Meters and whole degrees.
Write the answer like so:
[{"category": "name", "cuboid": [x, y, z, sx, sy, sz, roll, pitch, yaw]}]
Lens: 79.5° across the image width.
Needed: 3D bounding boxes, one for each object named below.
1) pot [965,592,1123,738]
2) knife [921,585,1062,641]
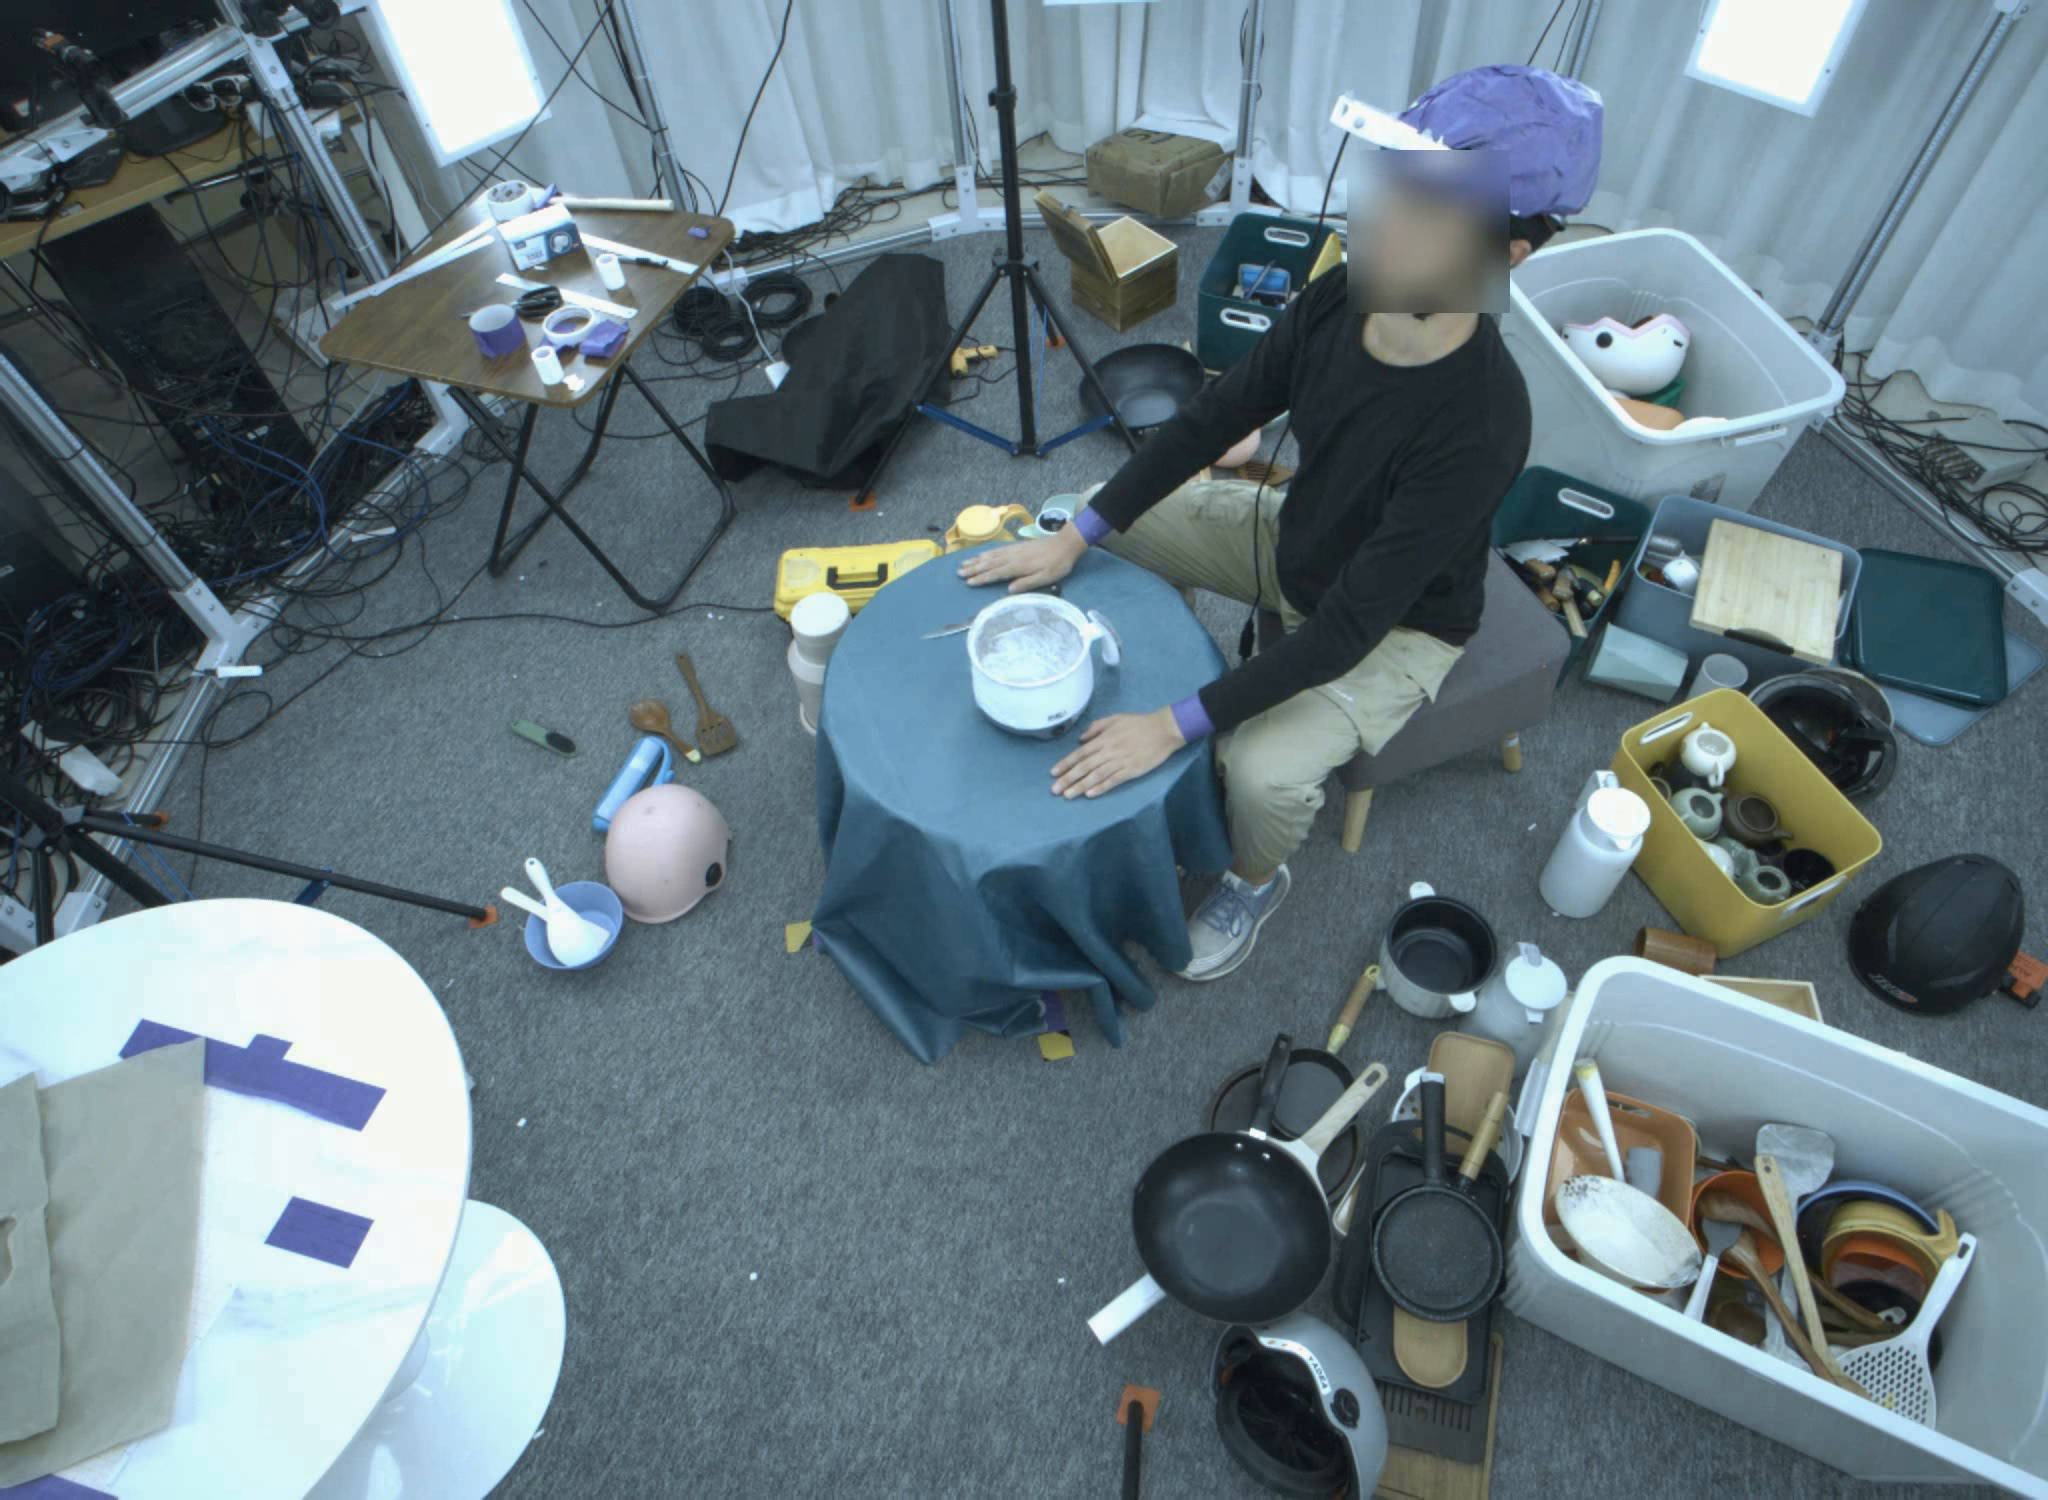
[{"category": "pot", "cuboid": [0.034, -0.132, 1.789, 0.235, 0.138, 0.175, -23, 57, -12]}, {"category": "knife", "cuboid": [-0.053, -0.216, 1.933, 0.239, 0.016, 0.024, -21, 59, -9]}]
